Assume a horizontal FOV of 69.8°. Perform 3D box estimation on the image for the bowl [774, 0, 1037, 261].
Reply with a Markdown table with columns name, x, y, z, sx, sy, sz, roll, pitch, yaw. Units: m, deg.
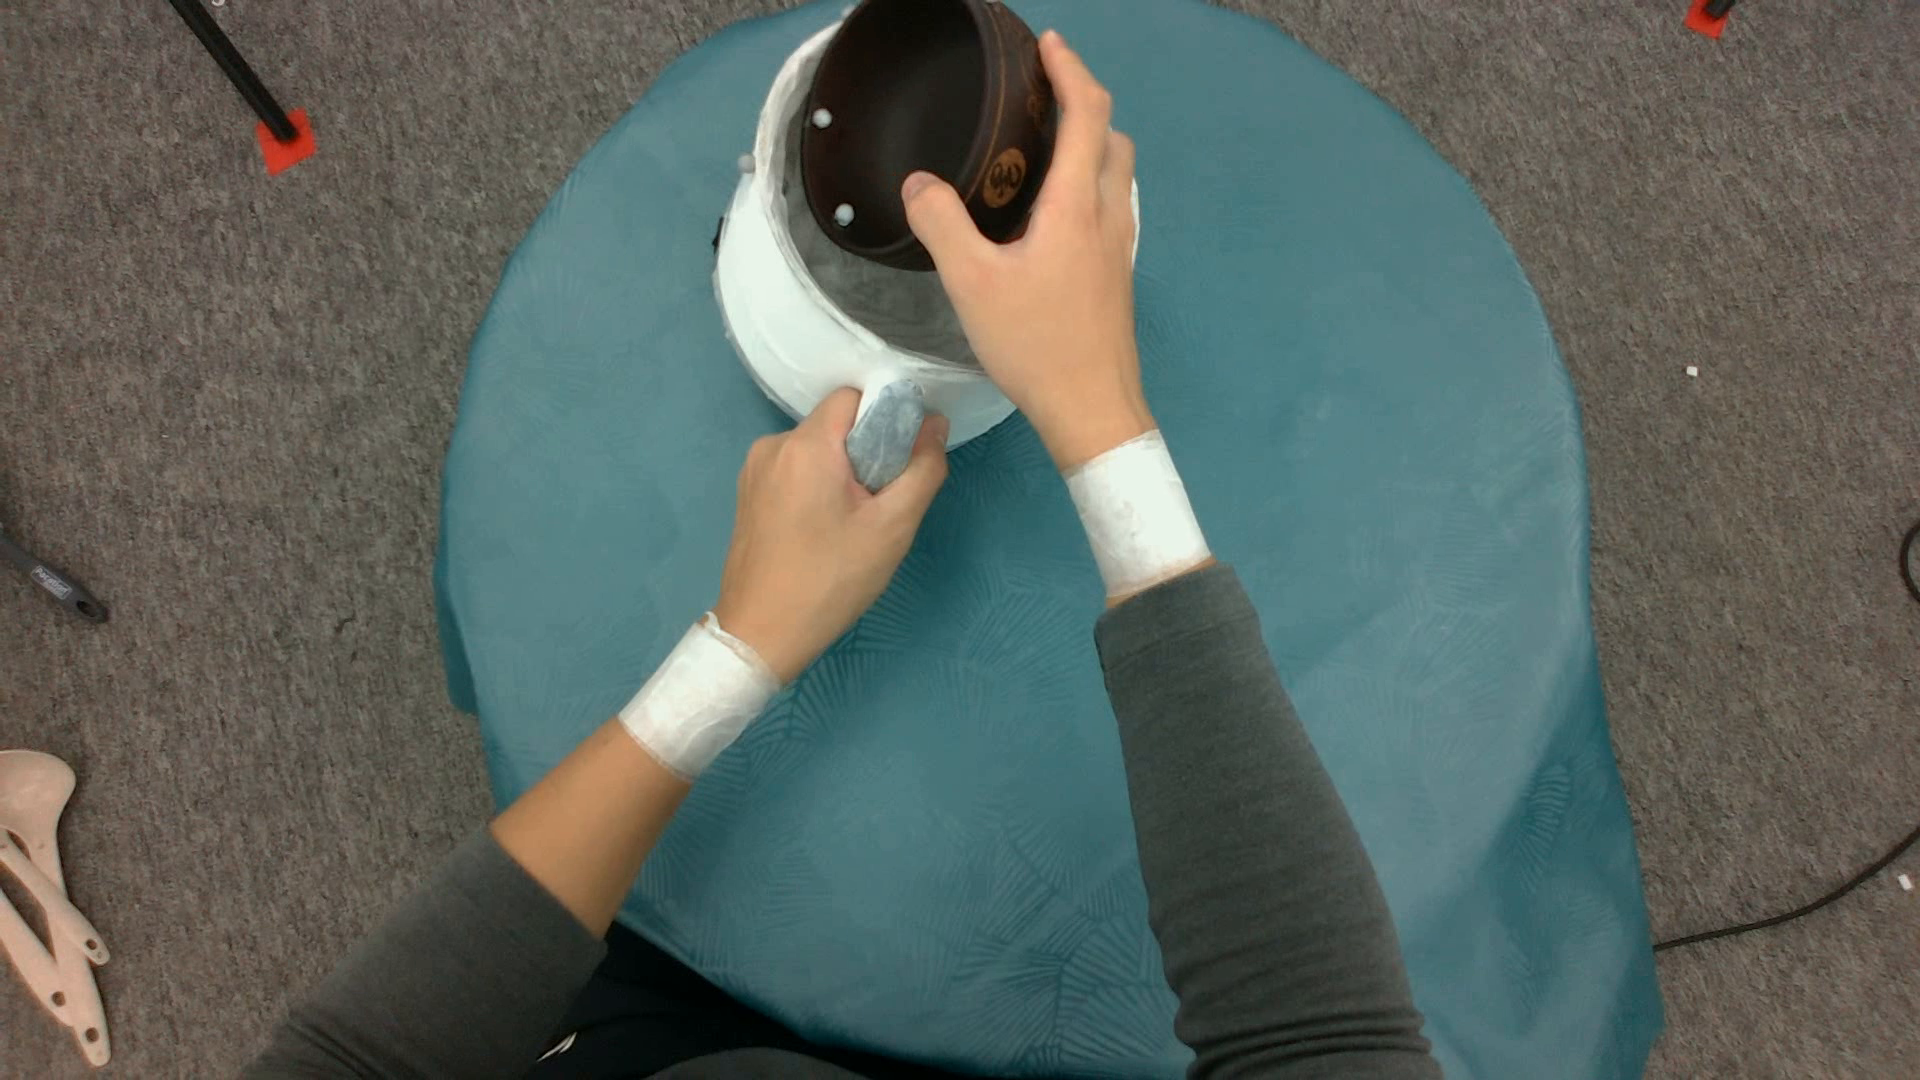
| name | x | y | z | sx | sy | sz | roll | pitch | yaw |
| --- | --- | --- | --- | --- | --- | --- | --- | --- | --- |
| bowl | -0.016 | -0.177 | 0.590 | 0.117 | 0.070 | 0.118 | 0 | 89 | 40 |

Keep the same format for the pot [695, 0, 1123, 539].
| name | x | y | z | sx | sy | sz | roll | pitch | yaw |
| --- | --- | --- | --- | --- | --- | --- | --- | --- | --- |
| pot | -0.035 | -0.119 | 0.650 | 0.179 | 0.136 | 0.234 | 17 | 70 | -15 |
